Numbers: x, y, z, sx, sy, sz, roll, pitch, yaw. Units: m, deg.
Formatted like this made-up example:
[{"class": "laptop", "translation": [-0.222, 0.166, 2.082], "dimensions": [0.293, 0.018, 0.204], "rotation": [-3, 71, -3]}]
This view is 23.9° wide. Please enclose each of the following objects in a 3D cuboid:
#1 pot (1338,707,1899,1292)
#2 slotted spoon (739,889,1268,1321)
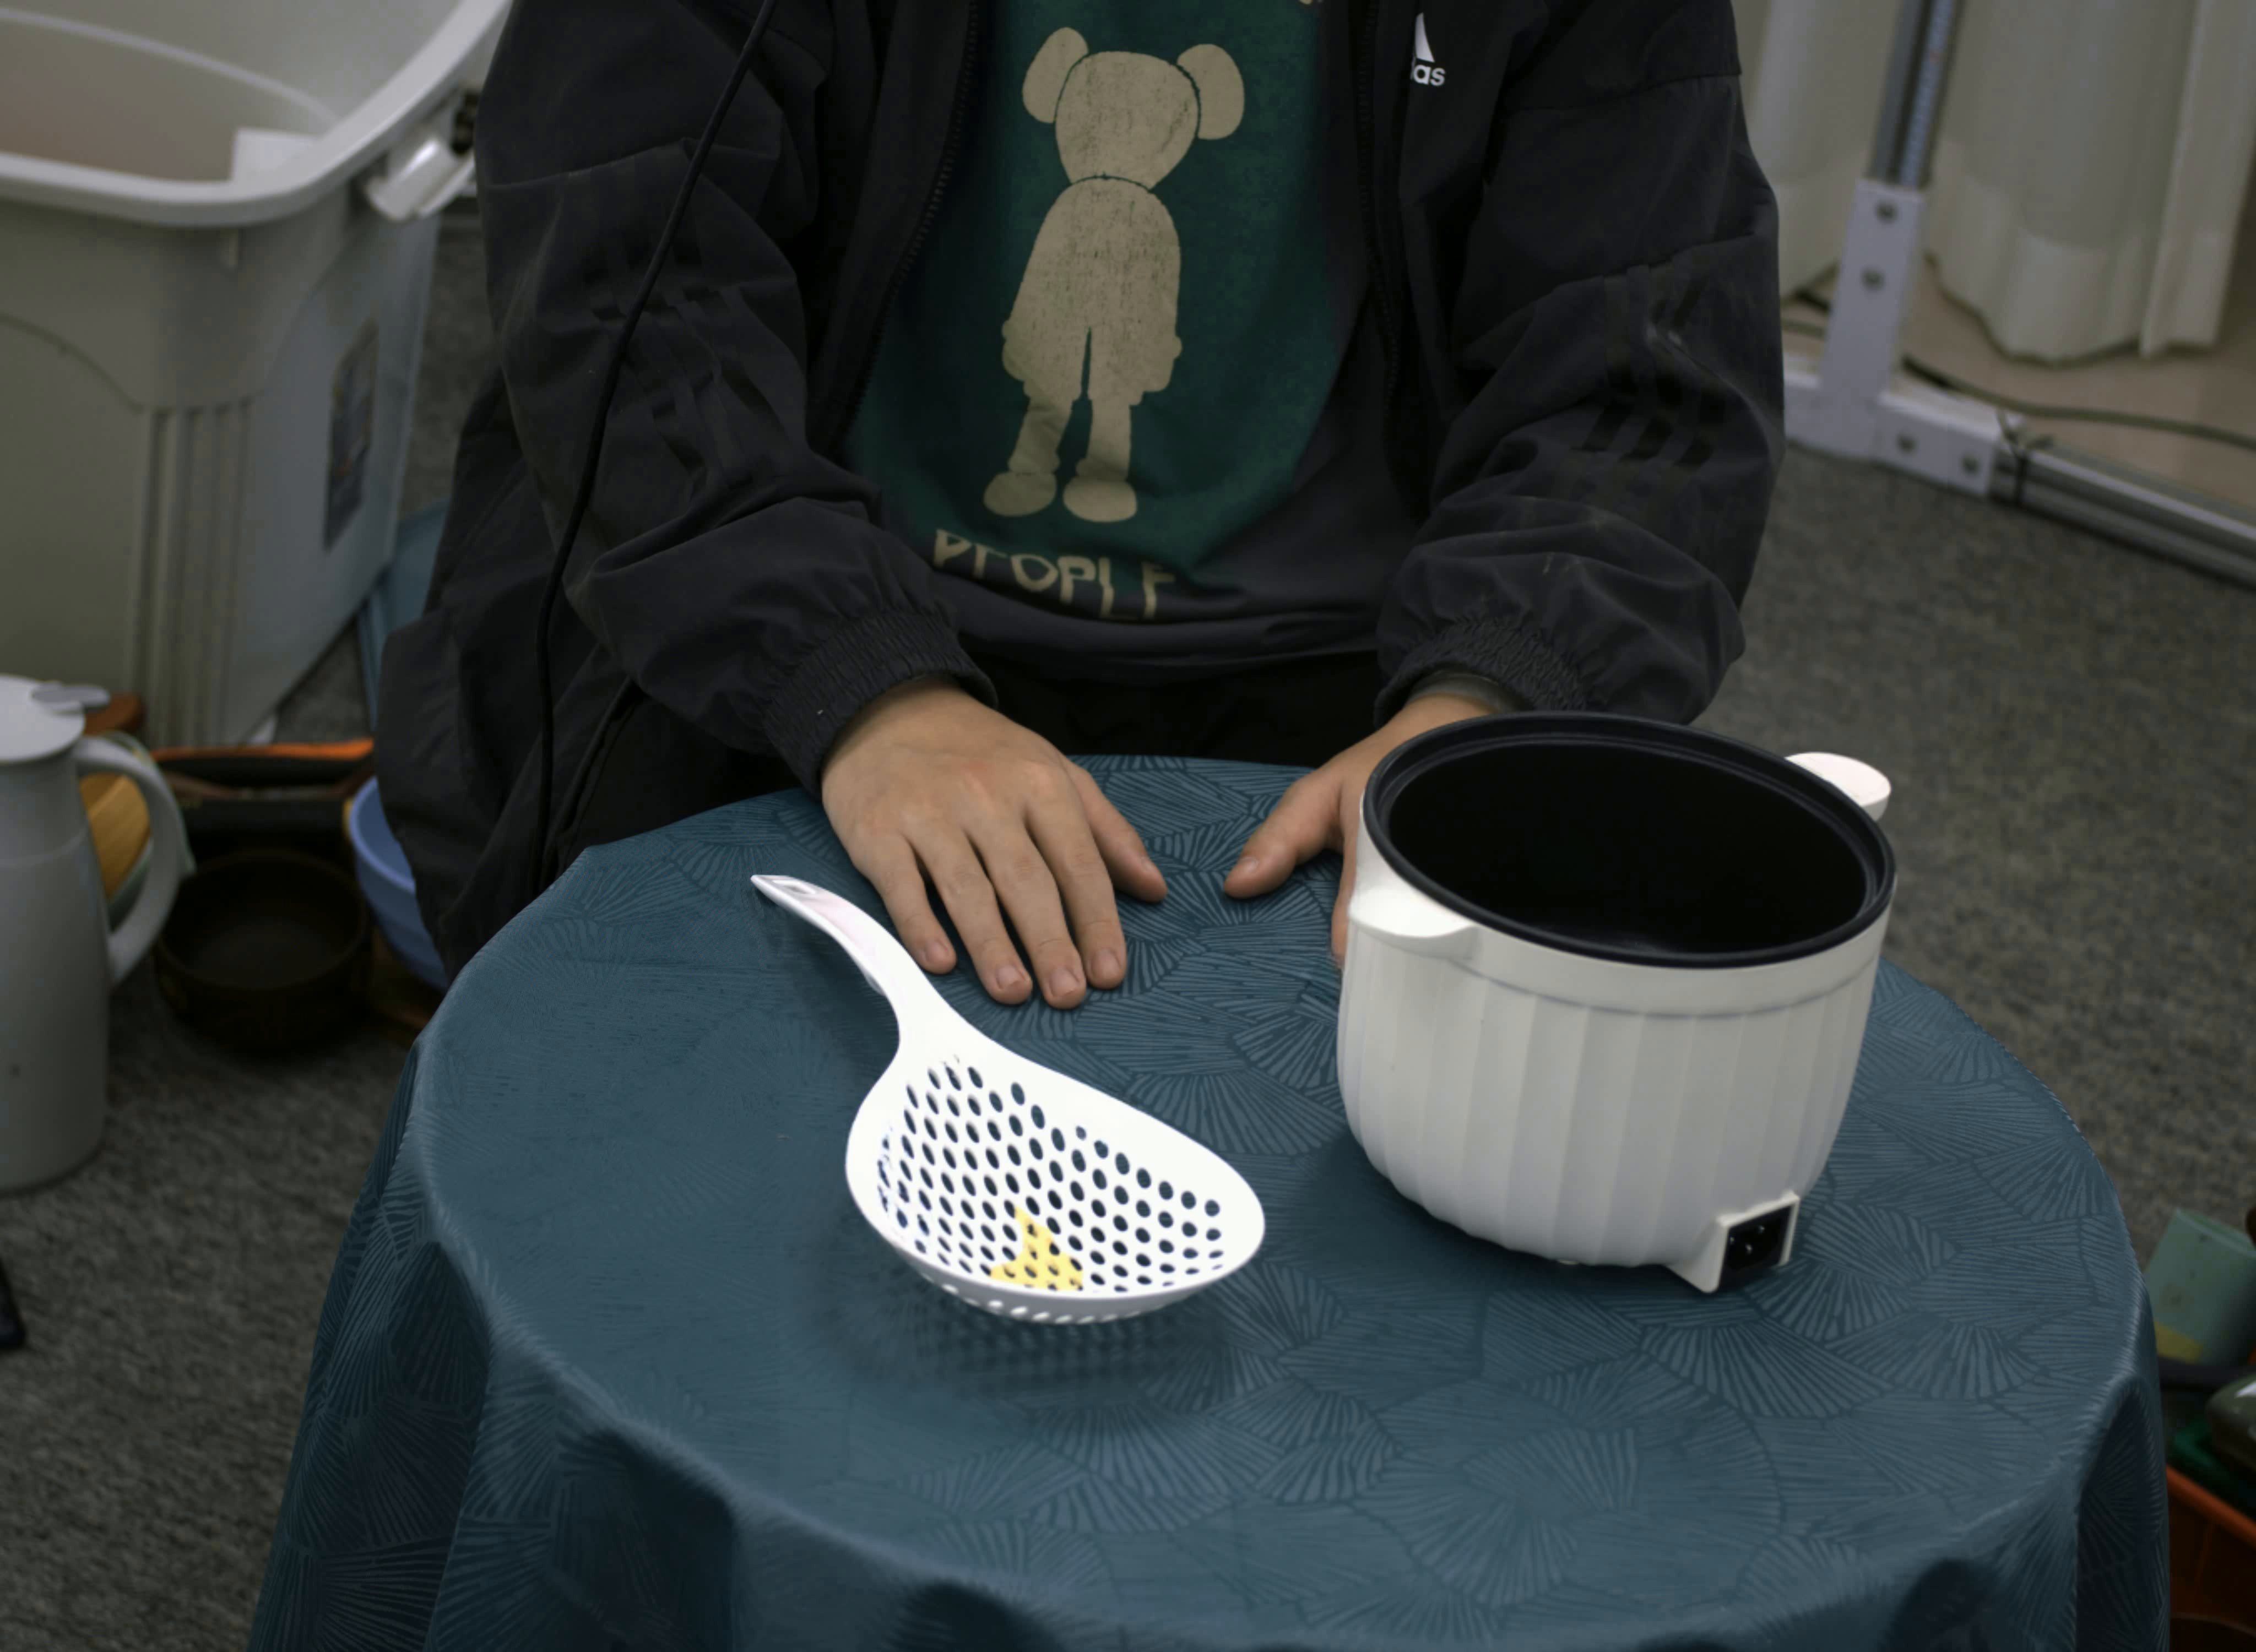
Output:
[{"class": "pot", "translation": [0.157, 0.058, 1.818], "dimensions": [0.239, 0.142, 0.192], "rotation": [-14, 36, -38]}, {"class": "slotted spoon", "translation": [-0.065, 0.083, 1.824], "dimensions": [0.136, 0.050, 0.351], "rotation": [-5, 29, -21]}]
